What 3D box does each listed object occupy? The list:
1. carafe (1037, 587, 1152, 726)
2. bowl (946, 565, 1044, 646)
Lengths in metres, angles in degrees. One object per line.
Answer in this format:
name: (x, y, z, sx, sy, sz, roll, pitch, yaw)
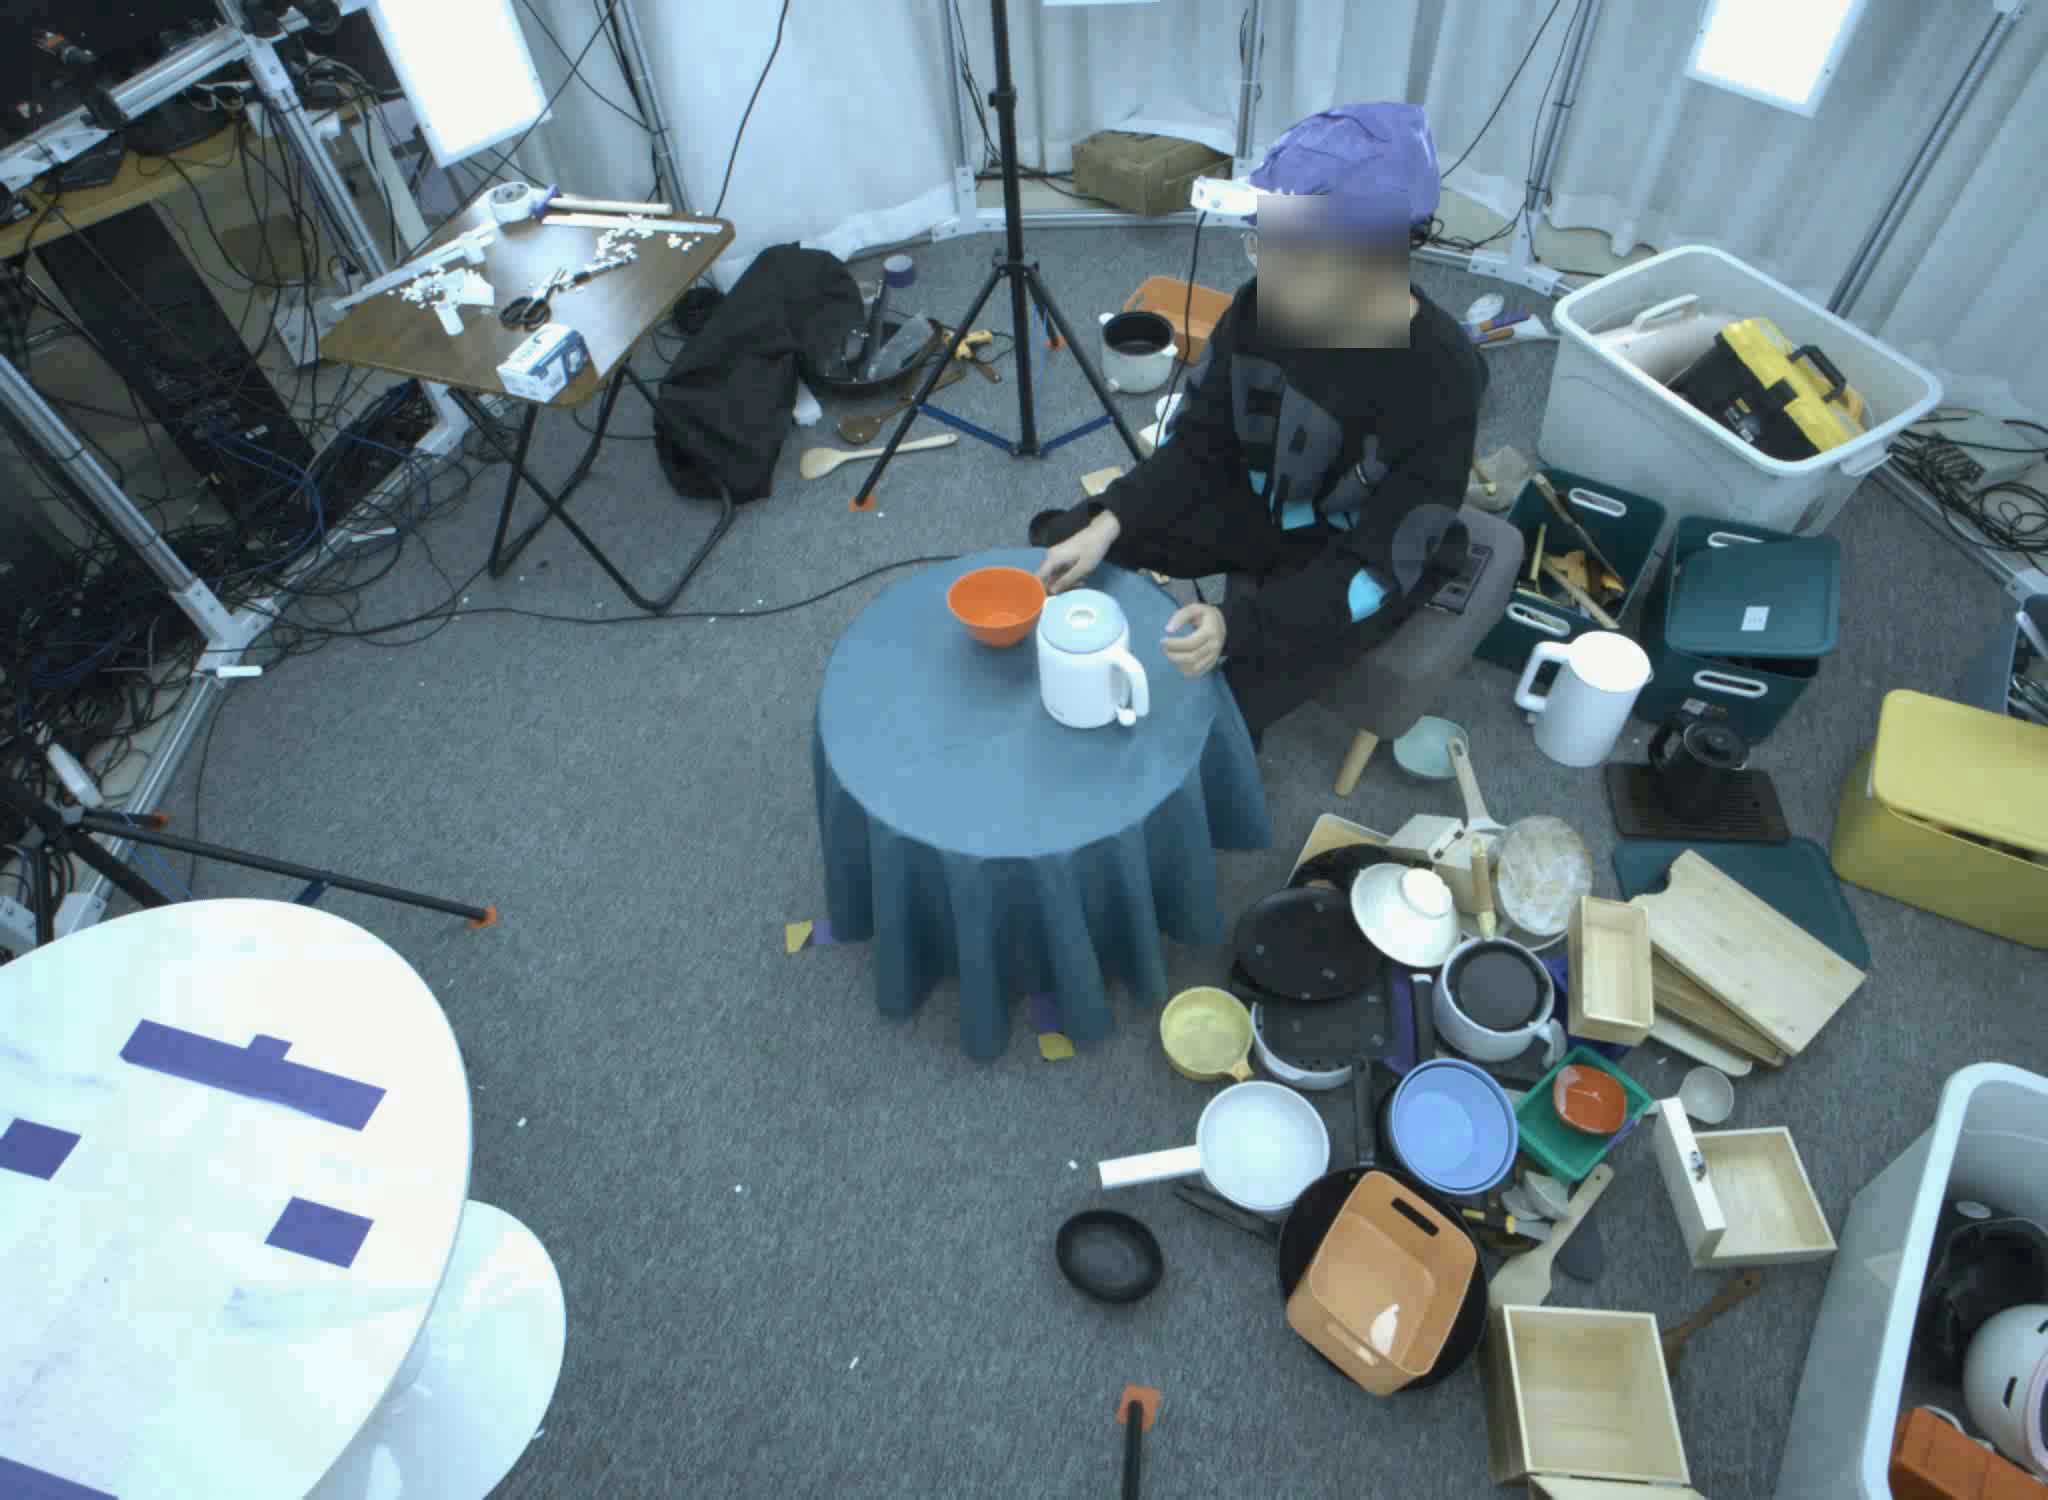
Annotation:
carafe: (0.104, -0.120, 1.759, 0.188, 0.184, 0.133, 35, 65, 22)
bowl: (-0.042, -0.208, 1.870, 0.148, 0.106, 0.146, -1, 55, 3)
